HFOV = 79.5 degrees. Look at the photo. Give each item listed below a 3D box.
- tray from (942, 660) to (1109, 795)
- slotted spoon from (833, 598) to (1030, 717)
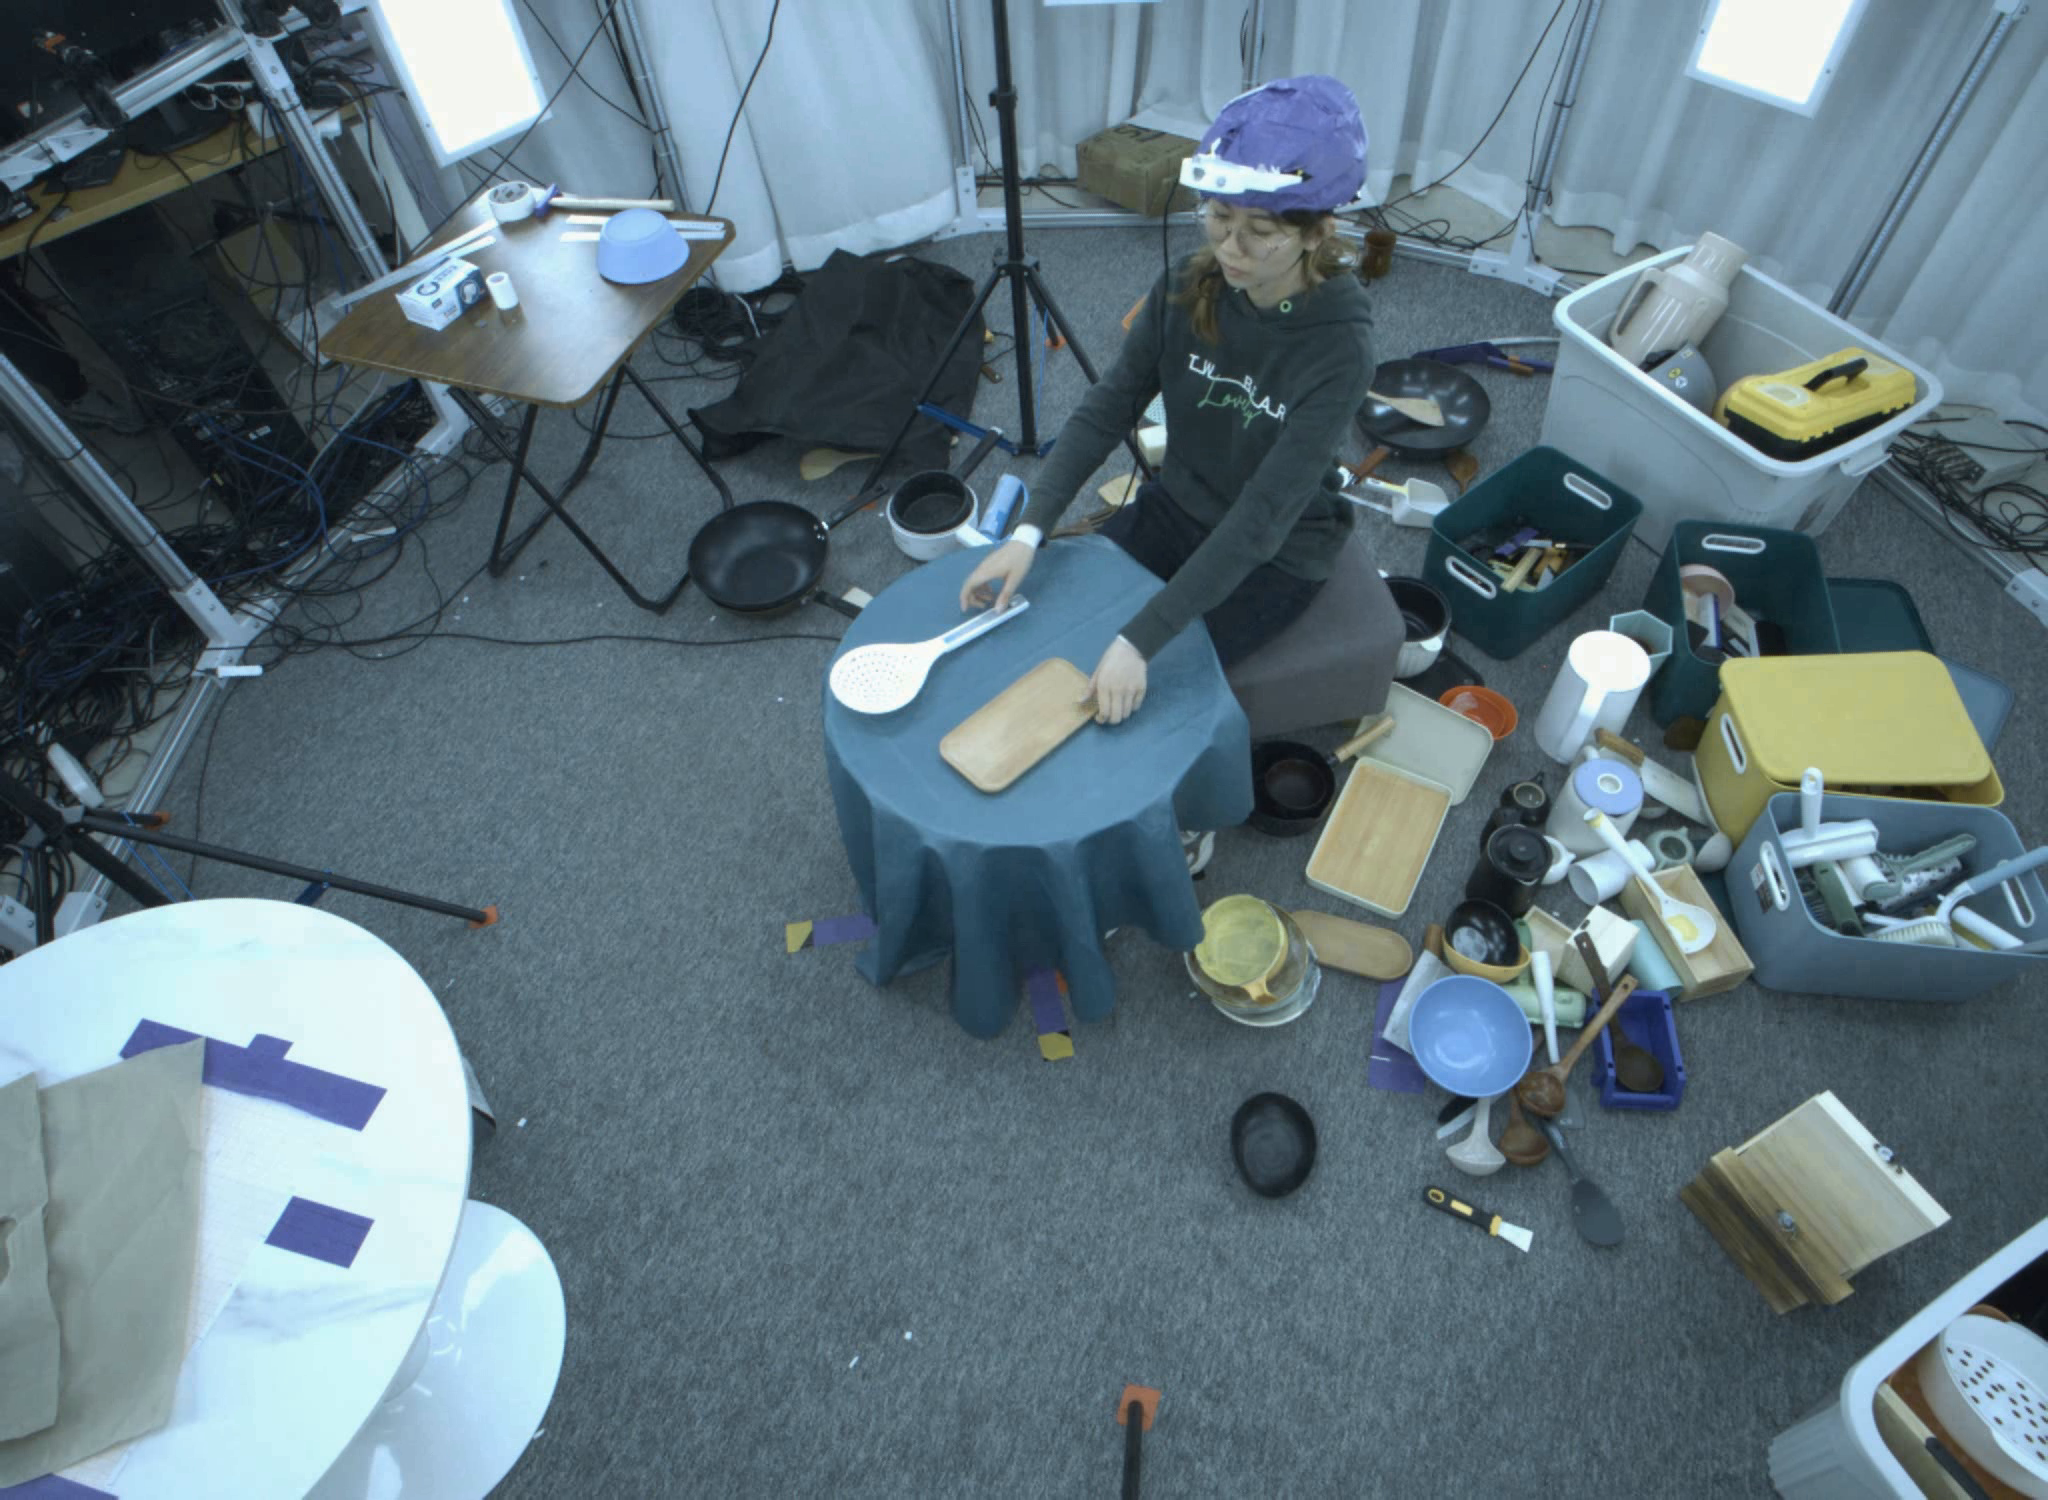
[{"bbox_3d":[0.004,-0.035,1.812,0.252,0.023,0.128,-38,64,-23],"label":"tray"},{"bbox_3d":[-0.134,-0.151,1.880,0.352,0.046,0.133,-34,63,-21],"label":"slotted spoon"}]
